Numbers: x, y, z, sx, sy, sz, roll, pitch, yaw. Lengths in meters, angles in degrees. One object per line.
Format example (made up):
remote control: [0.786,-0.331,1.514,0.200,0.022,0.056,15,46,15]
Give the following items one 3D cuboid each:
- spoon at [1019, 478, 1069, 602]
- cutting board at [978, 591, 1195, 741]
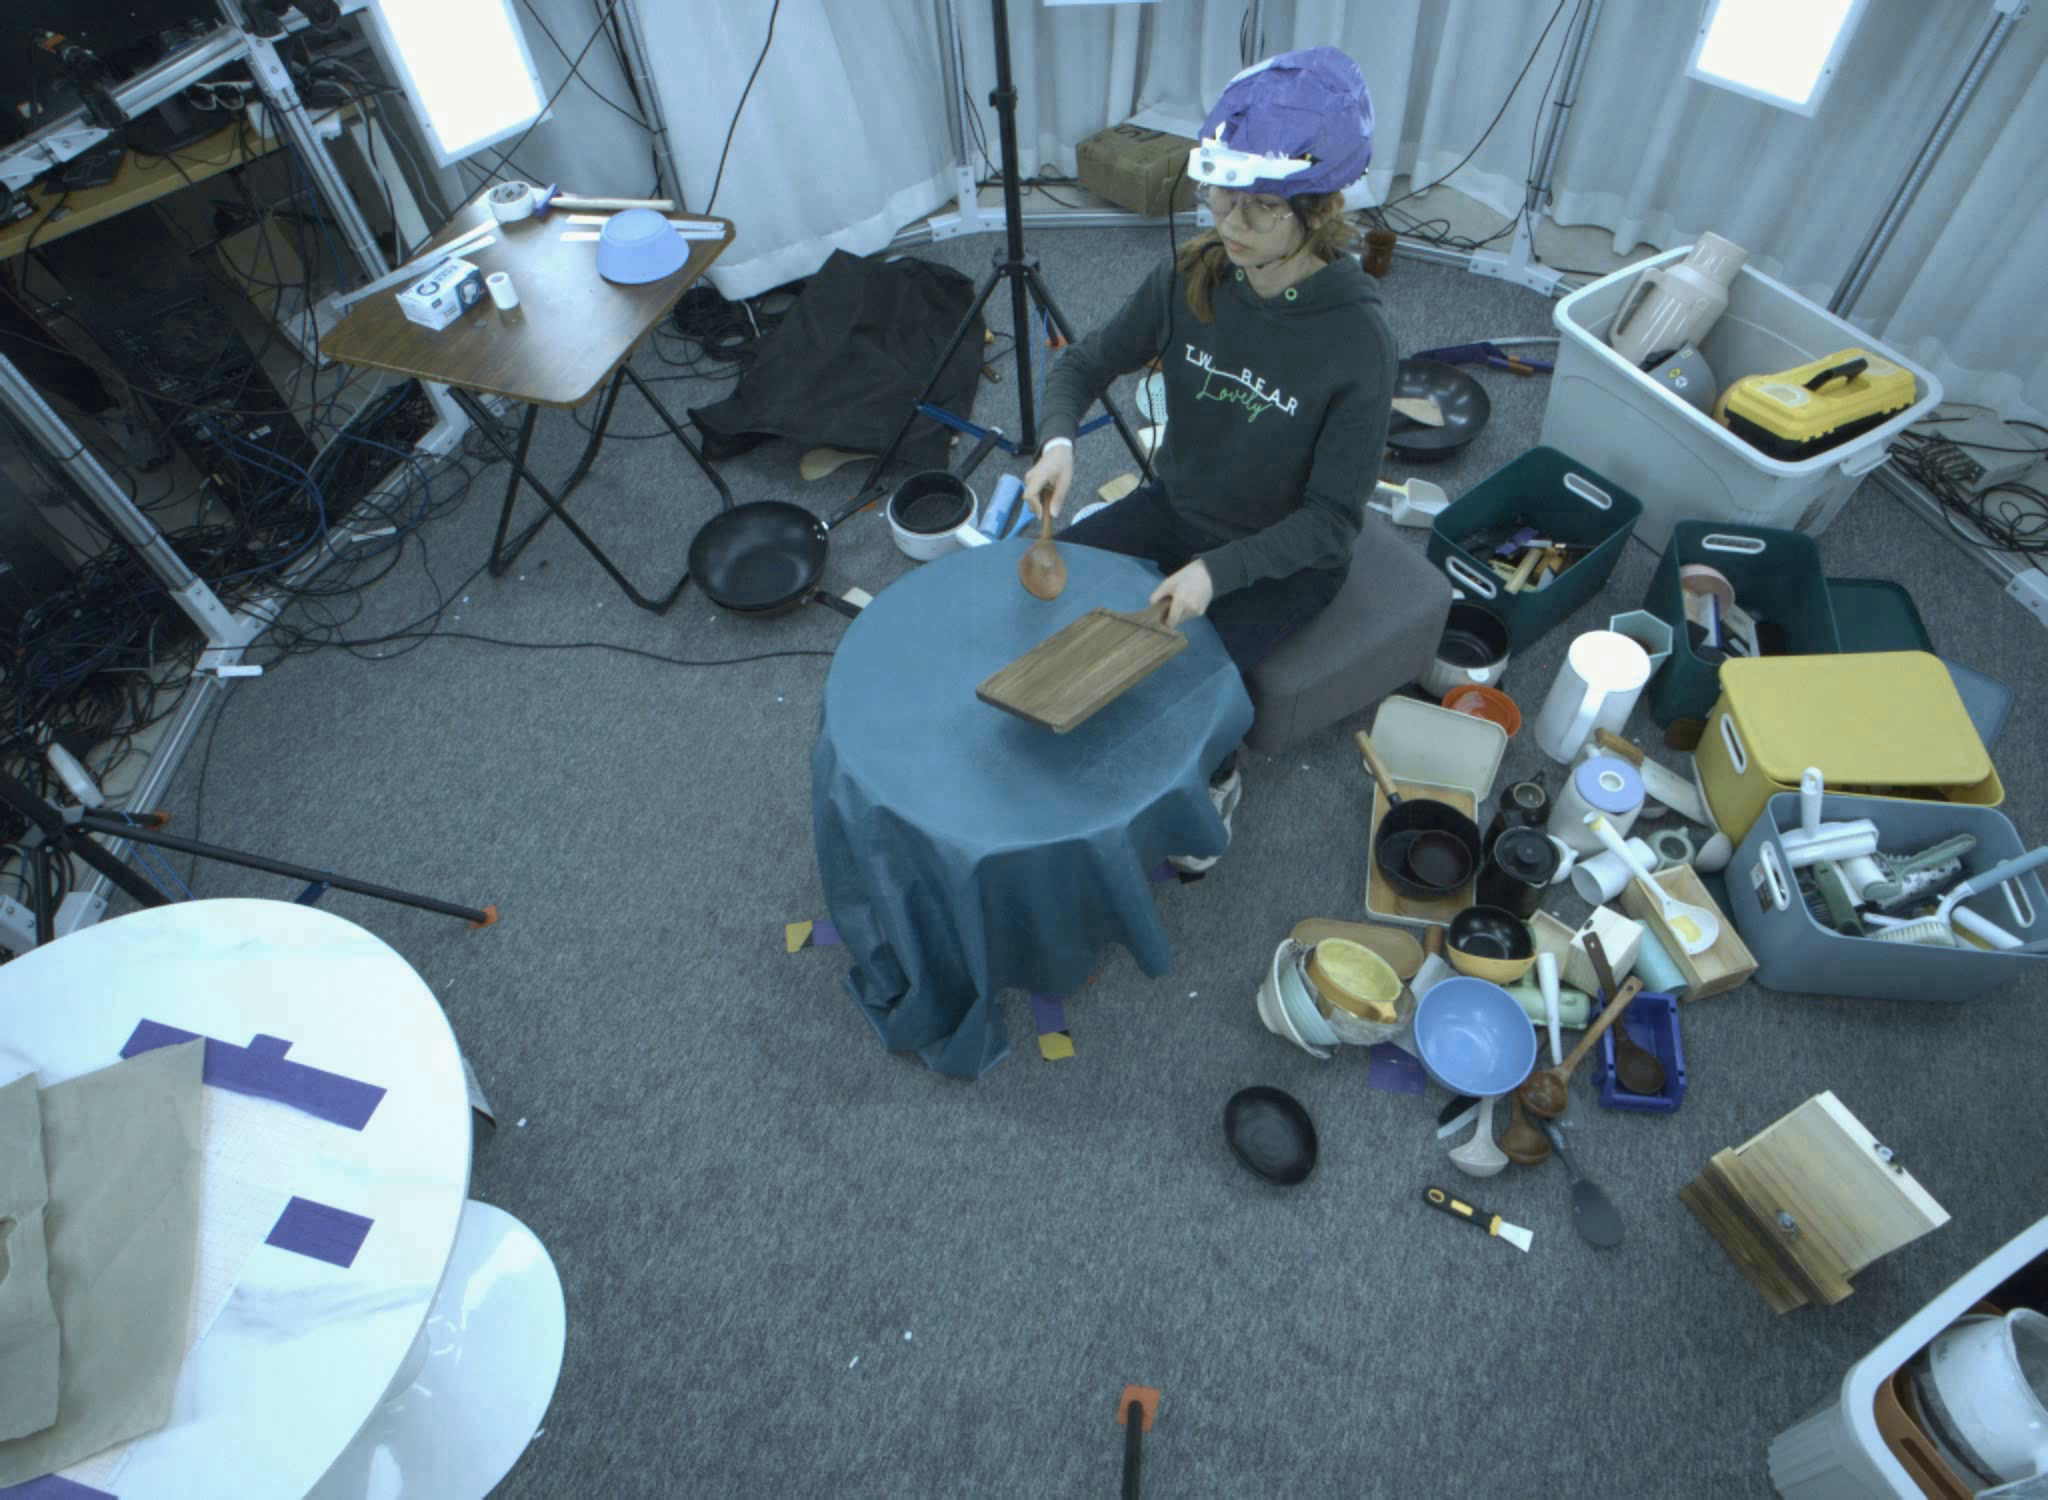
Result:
spoon: [0.032,-0.313,1.821,0.076,0.017,0.214,12,67,-16]
cutting board: [0.120,-0.137,1.768,0.355,0.023,0.196,-36,37,-25]
